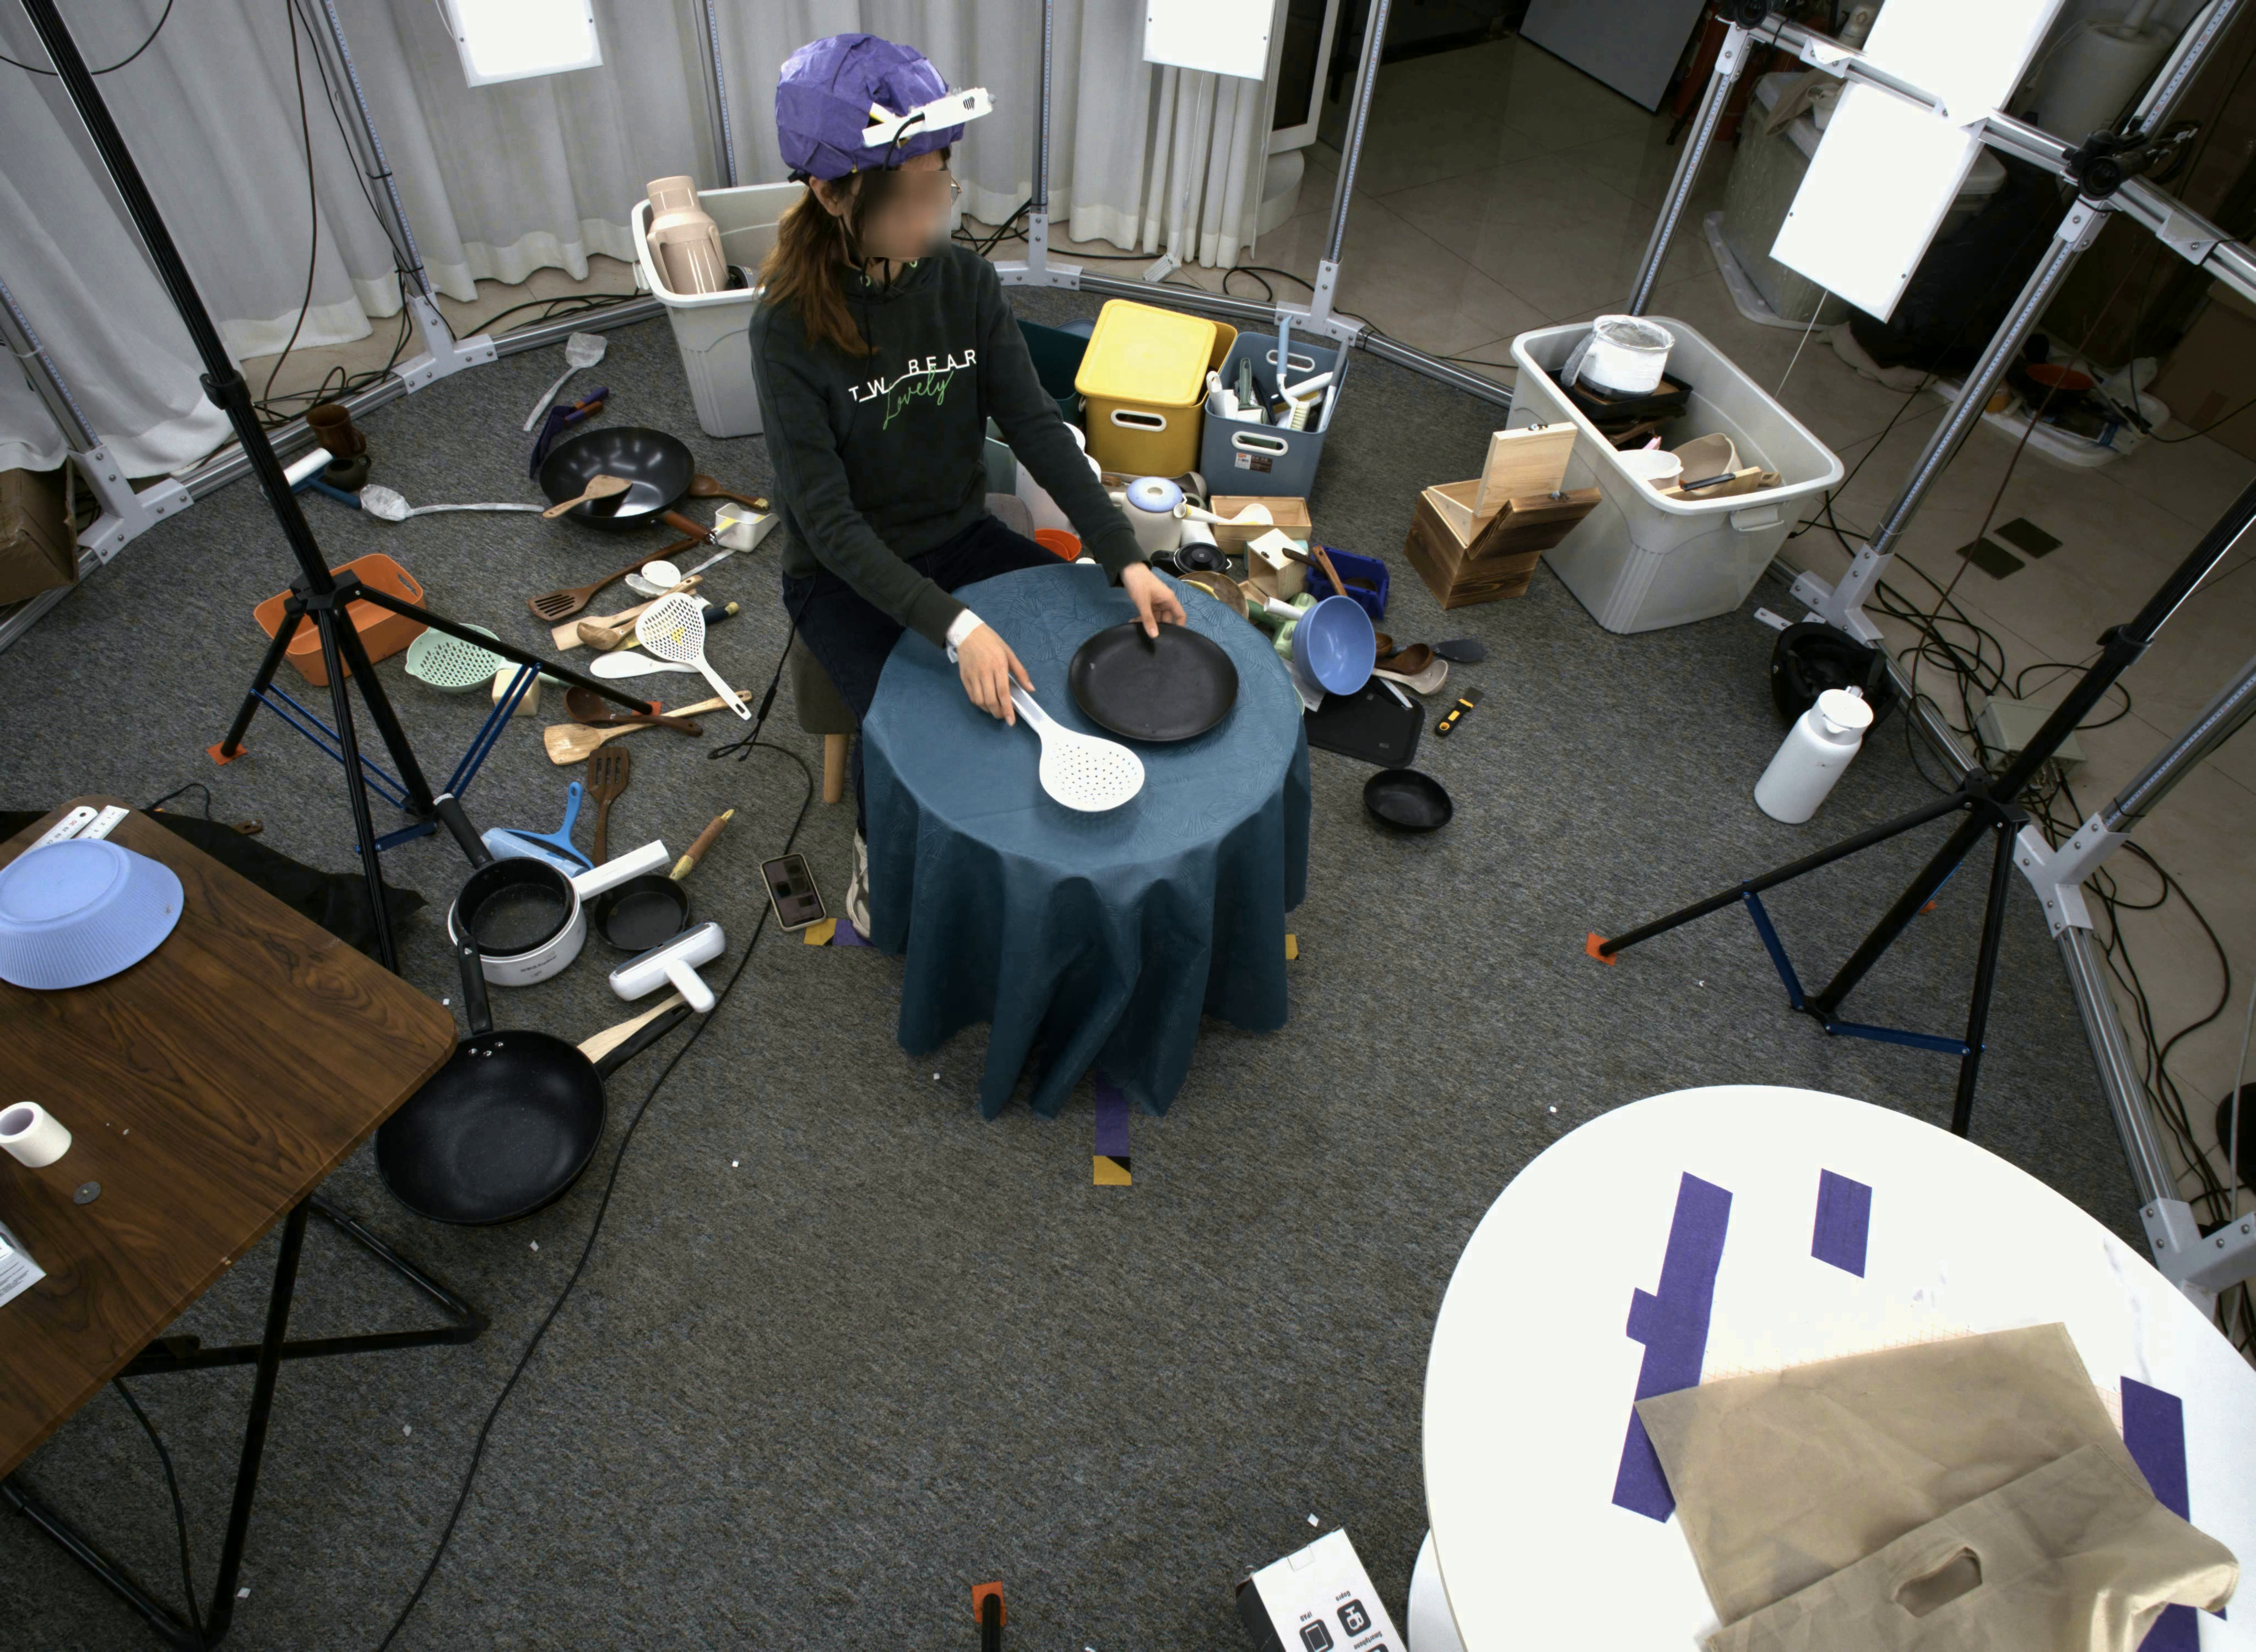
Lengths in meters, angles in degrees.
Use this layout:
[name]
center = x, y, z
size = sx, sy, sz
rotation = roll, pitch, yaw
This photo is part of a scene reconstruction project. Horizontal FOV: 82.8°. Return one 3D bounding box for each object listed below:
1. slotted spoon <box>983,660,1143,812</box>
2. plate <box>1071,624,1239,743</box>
[slotted spoon]
center = -0.107, -0.129, 1.759
size = 0.136, 0.044, 0.357
rotation = -22, 53, -24
[plate]
center = 0.038, -0.203, 1.849
size = 0.244, 0.023, 0.250
rotation = 2, 49, -2
